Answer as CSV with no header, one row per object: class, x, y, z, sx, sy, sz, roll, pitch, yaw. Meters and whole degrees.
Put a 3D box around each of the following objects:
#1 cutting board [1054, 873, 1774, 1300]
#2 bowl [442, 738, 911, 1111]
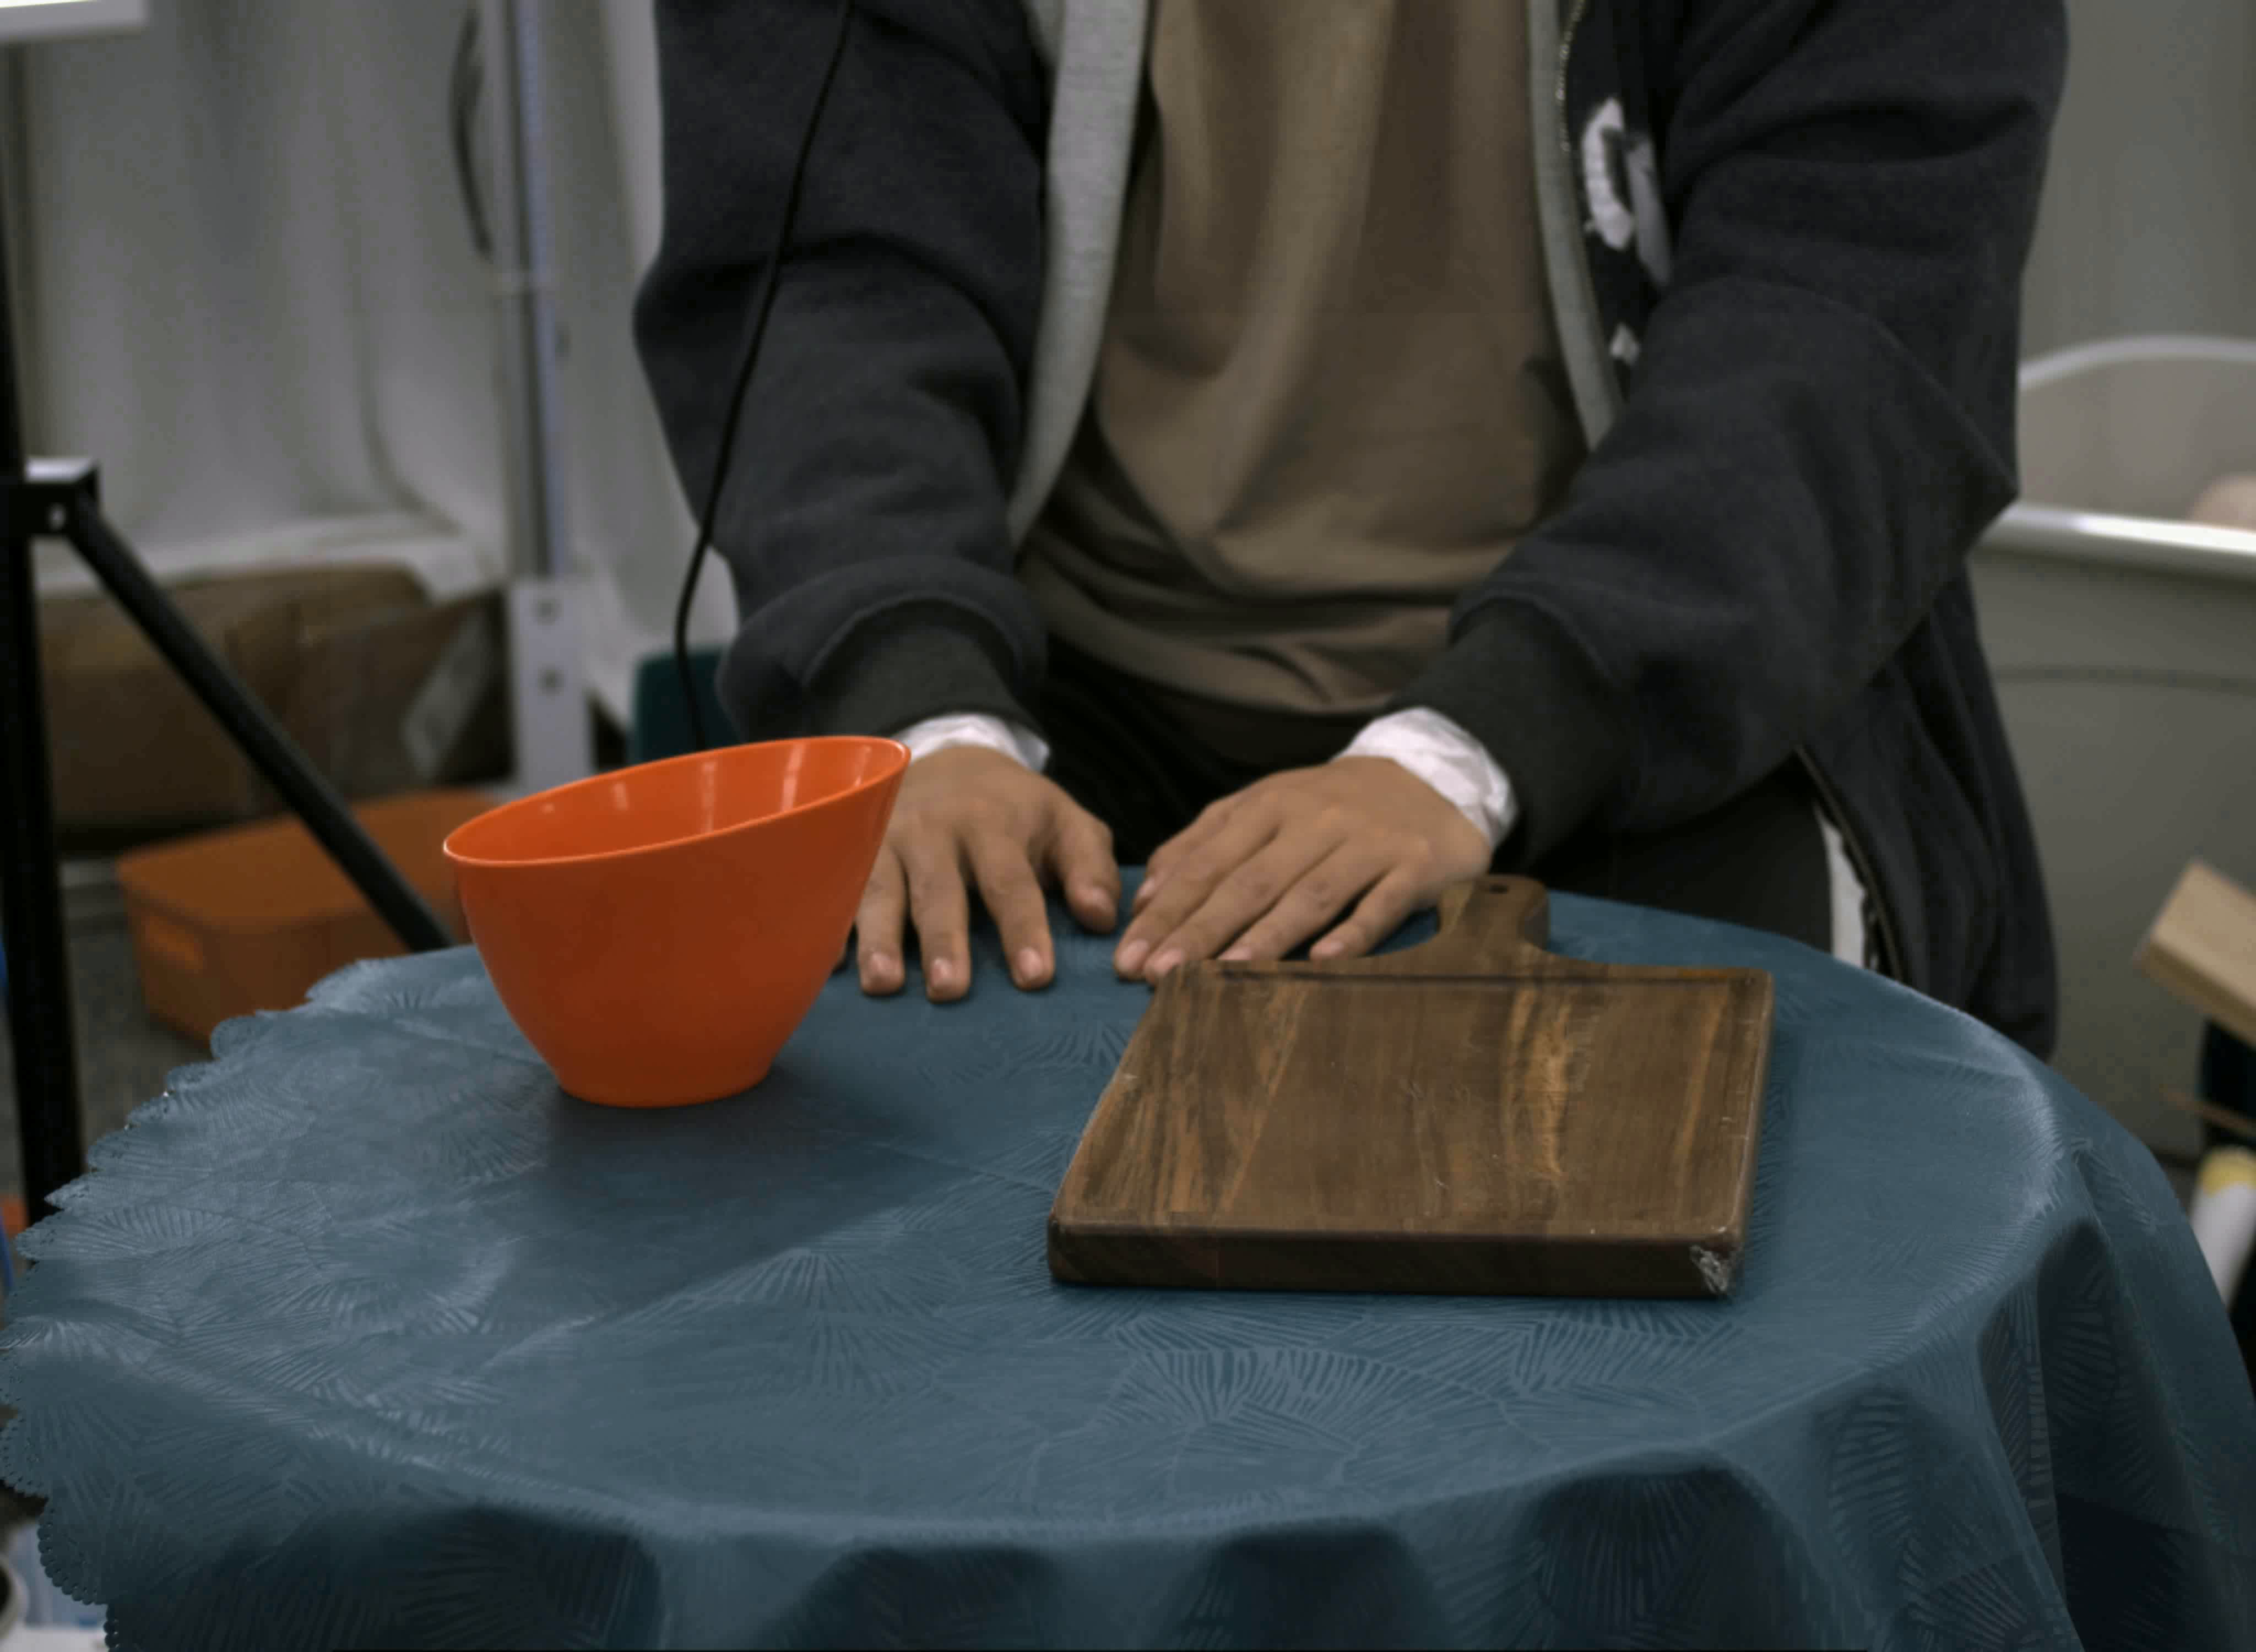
cutting board,0.099,0.074,1.628,0.202,0.023,0.351,0,16,9
bowl,-0.139,0.031,1.669,0.147,0.104,0.149,-3,16,-1
